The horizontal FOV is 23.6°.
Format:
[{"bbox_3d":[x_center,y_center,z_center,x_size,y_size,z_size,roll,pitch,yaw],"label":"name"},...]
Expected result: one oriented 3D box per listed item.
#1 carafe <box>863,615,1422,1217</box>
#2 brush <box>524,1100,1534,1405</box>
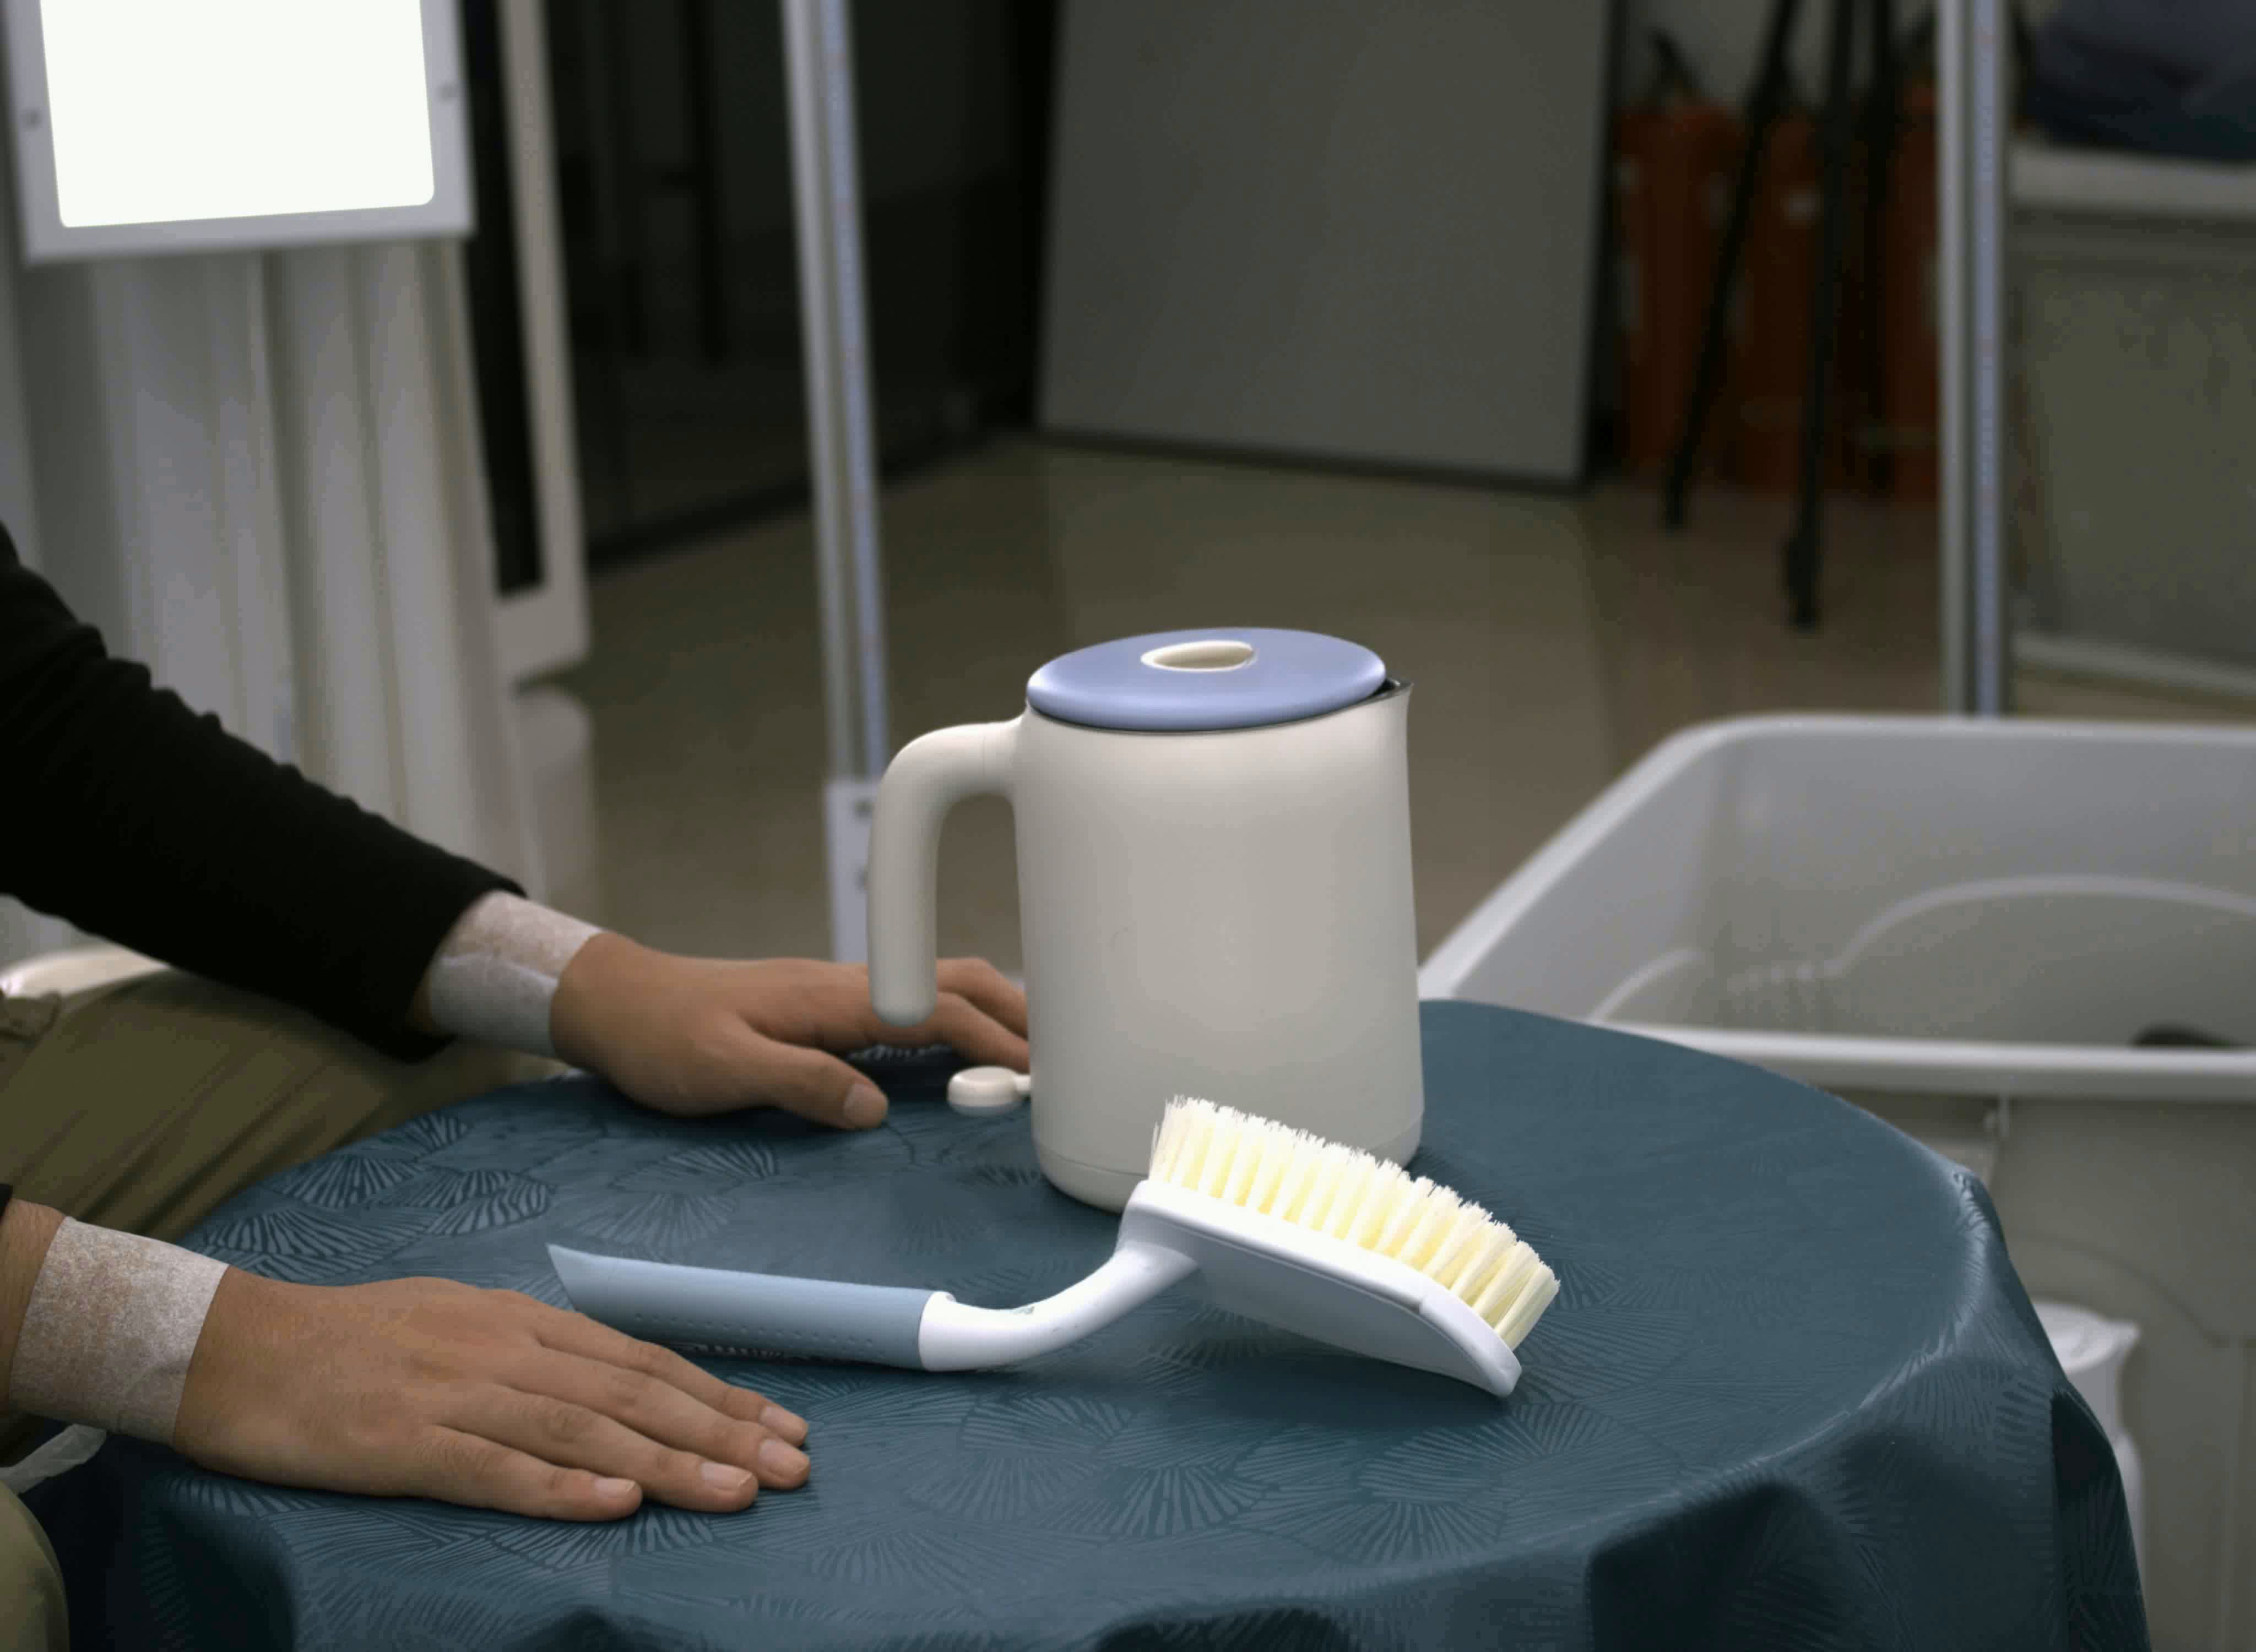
[{"bbox_3d":[0.005,0.030,1.774,0.189,0.184,0.132,-3,13,10],"label":"carafe"},{"bbox_3d":[-0.032,0.118,1.619,0.325,0.084,0.084,3,22,24],"label":"brush"}]
